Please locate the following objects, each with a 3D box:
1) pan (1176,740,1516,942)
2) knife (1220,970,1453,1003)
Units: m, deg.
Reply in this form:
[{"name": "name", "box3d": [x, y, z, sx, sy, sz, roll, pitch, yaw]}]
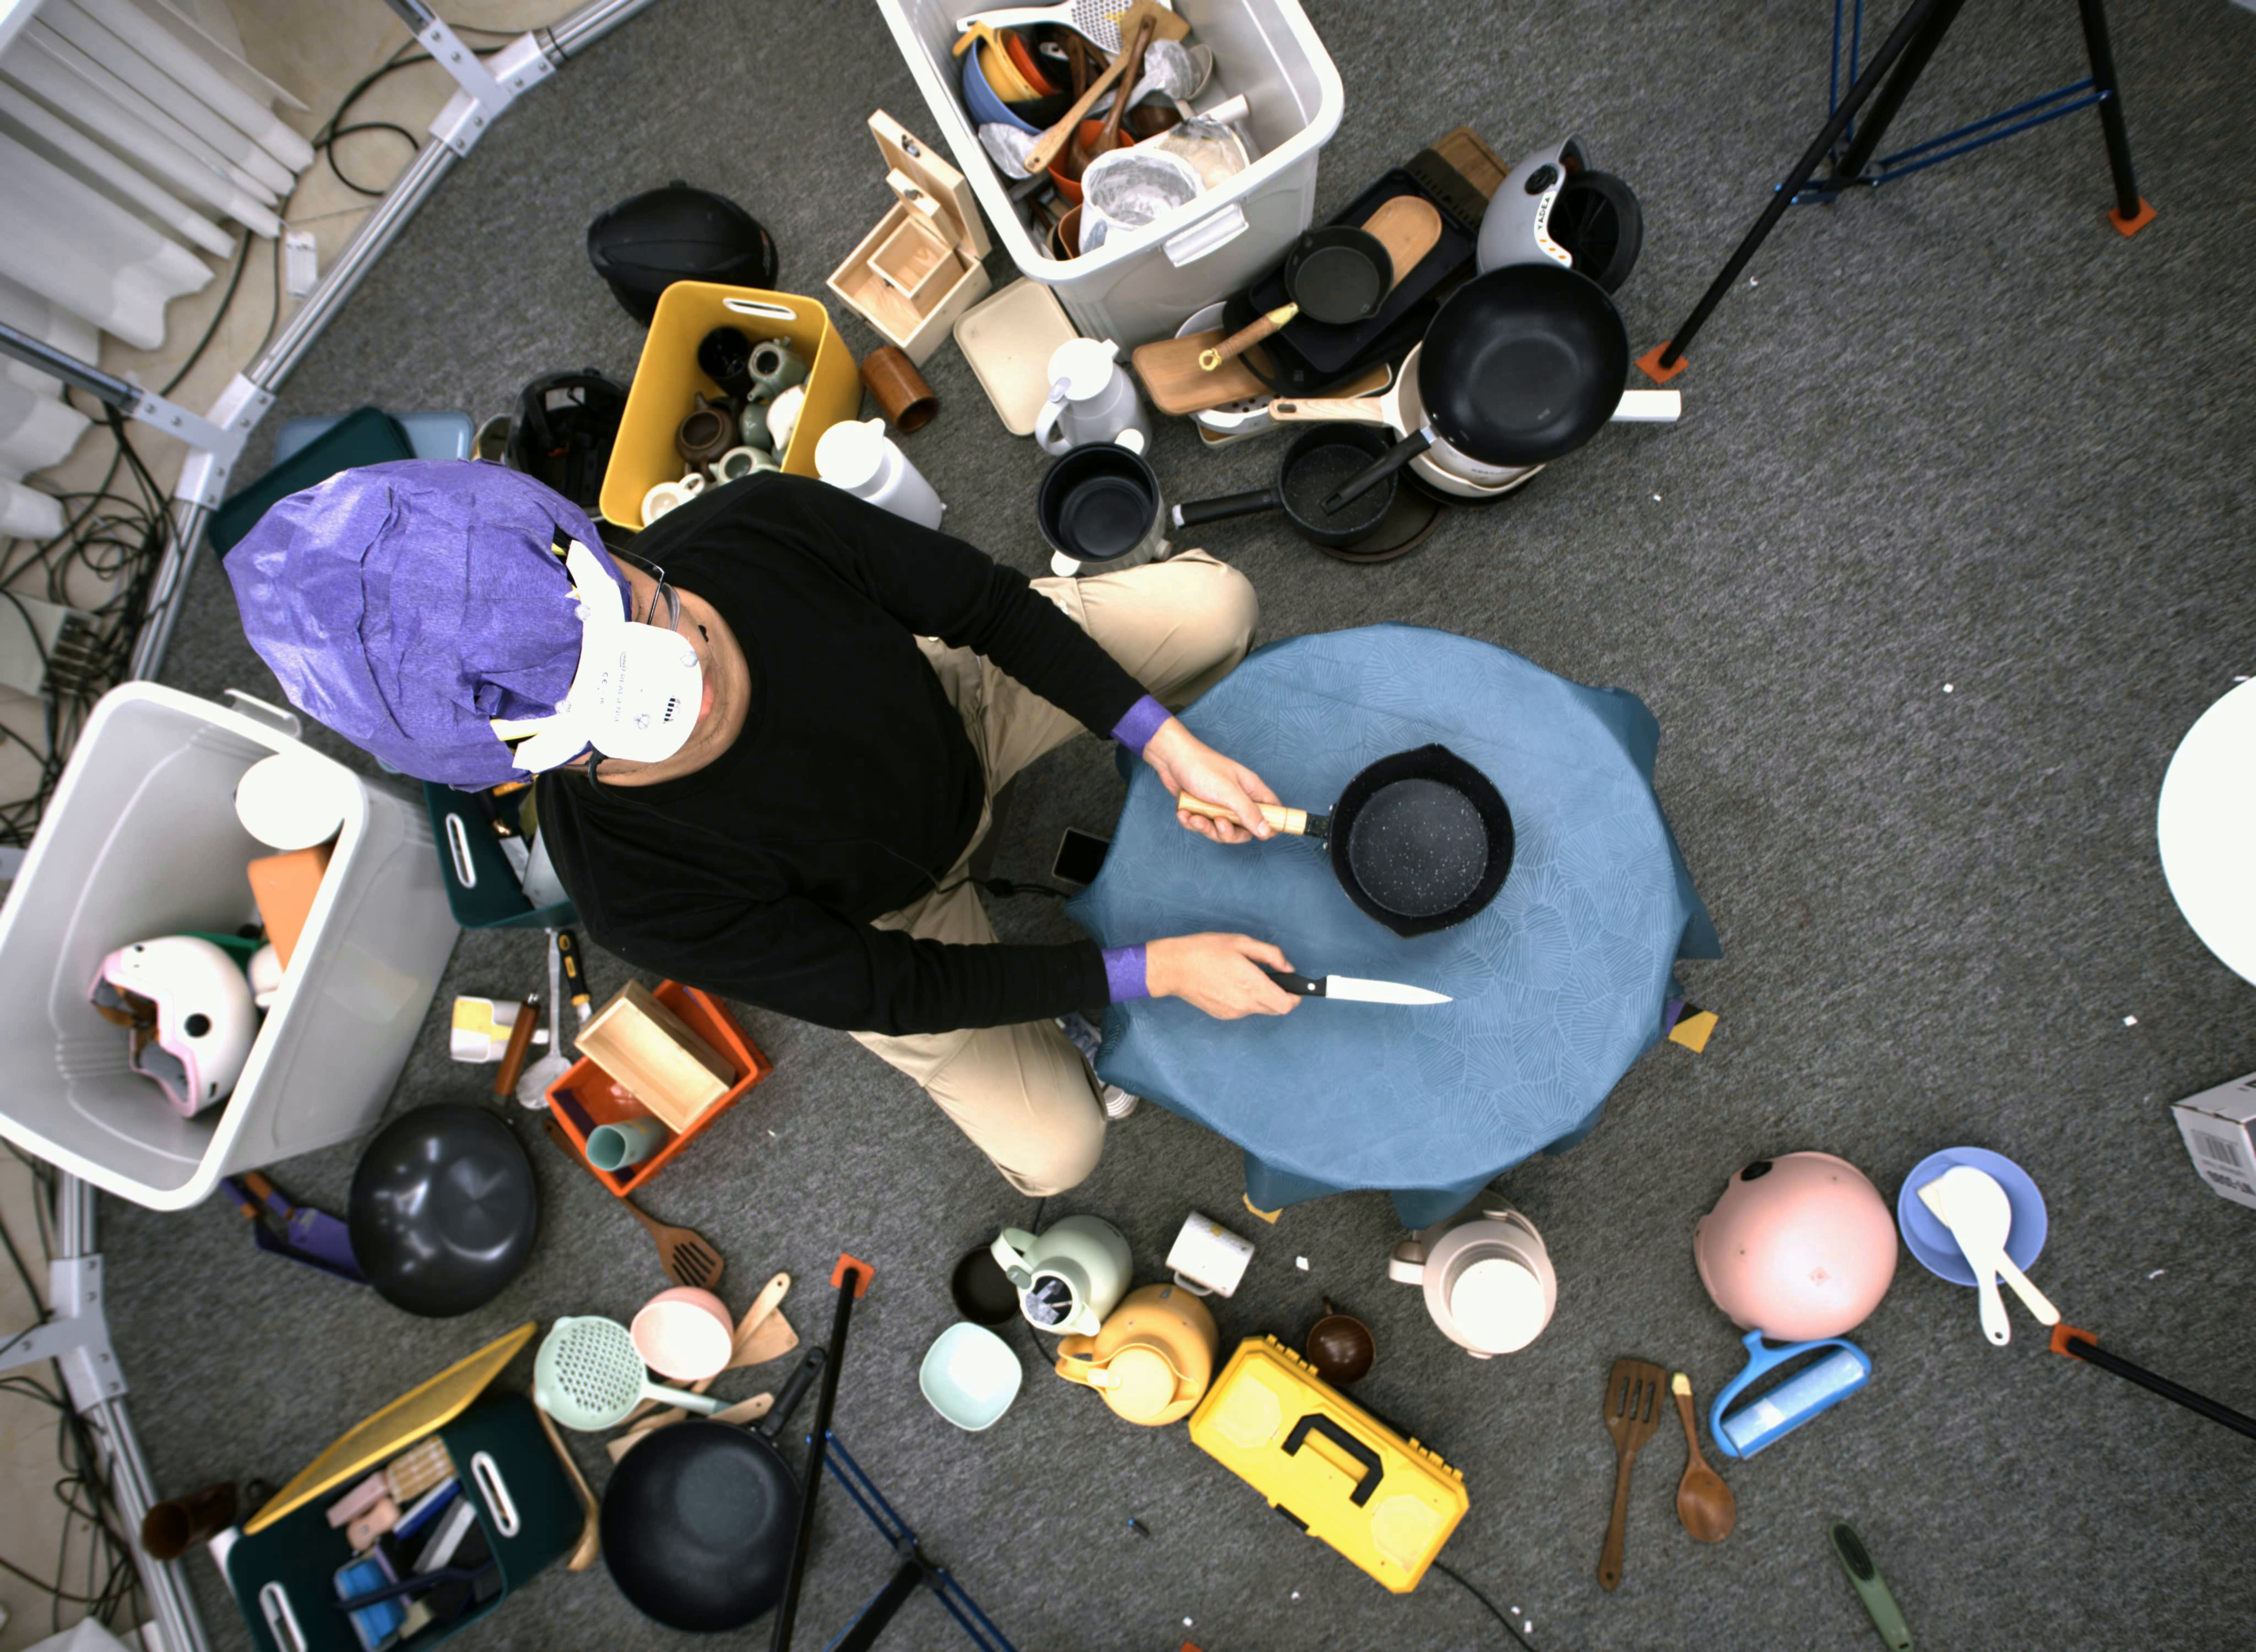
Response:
[{"name": "pan", "box3d": [0.221, 0.005, 1.420, 0.343, 0.108, 0.207, 9, 89, 10]}, {"name": "knife", "box3d": [0.208, 0.164, 1.404, 0.239, 0.016, 0.024, 3, 75, 18]}]
